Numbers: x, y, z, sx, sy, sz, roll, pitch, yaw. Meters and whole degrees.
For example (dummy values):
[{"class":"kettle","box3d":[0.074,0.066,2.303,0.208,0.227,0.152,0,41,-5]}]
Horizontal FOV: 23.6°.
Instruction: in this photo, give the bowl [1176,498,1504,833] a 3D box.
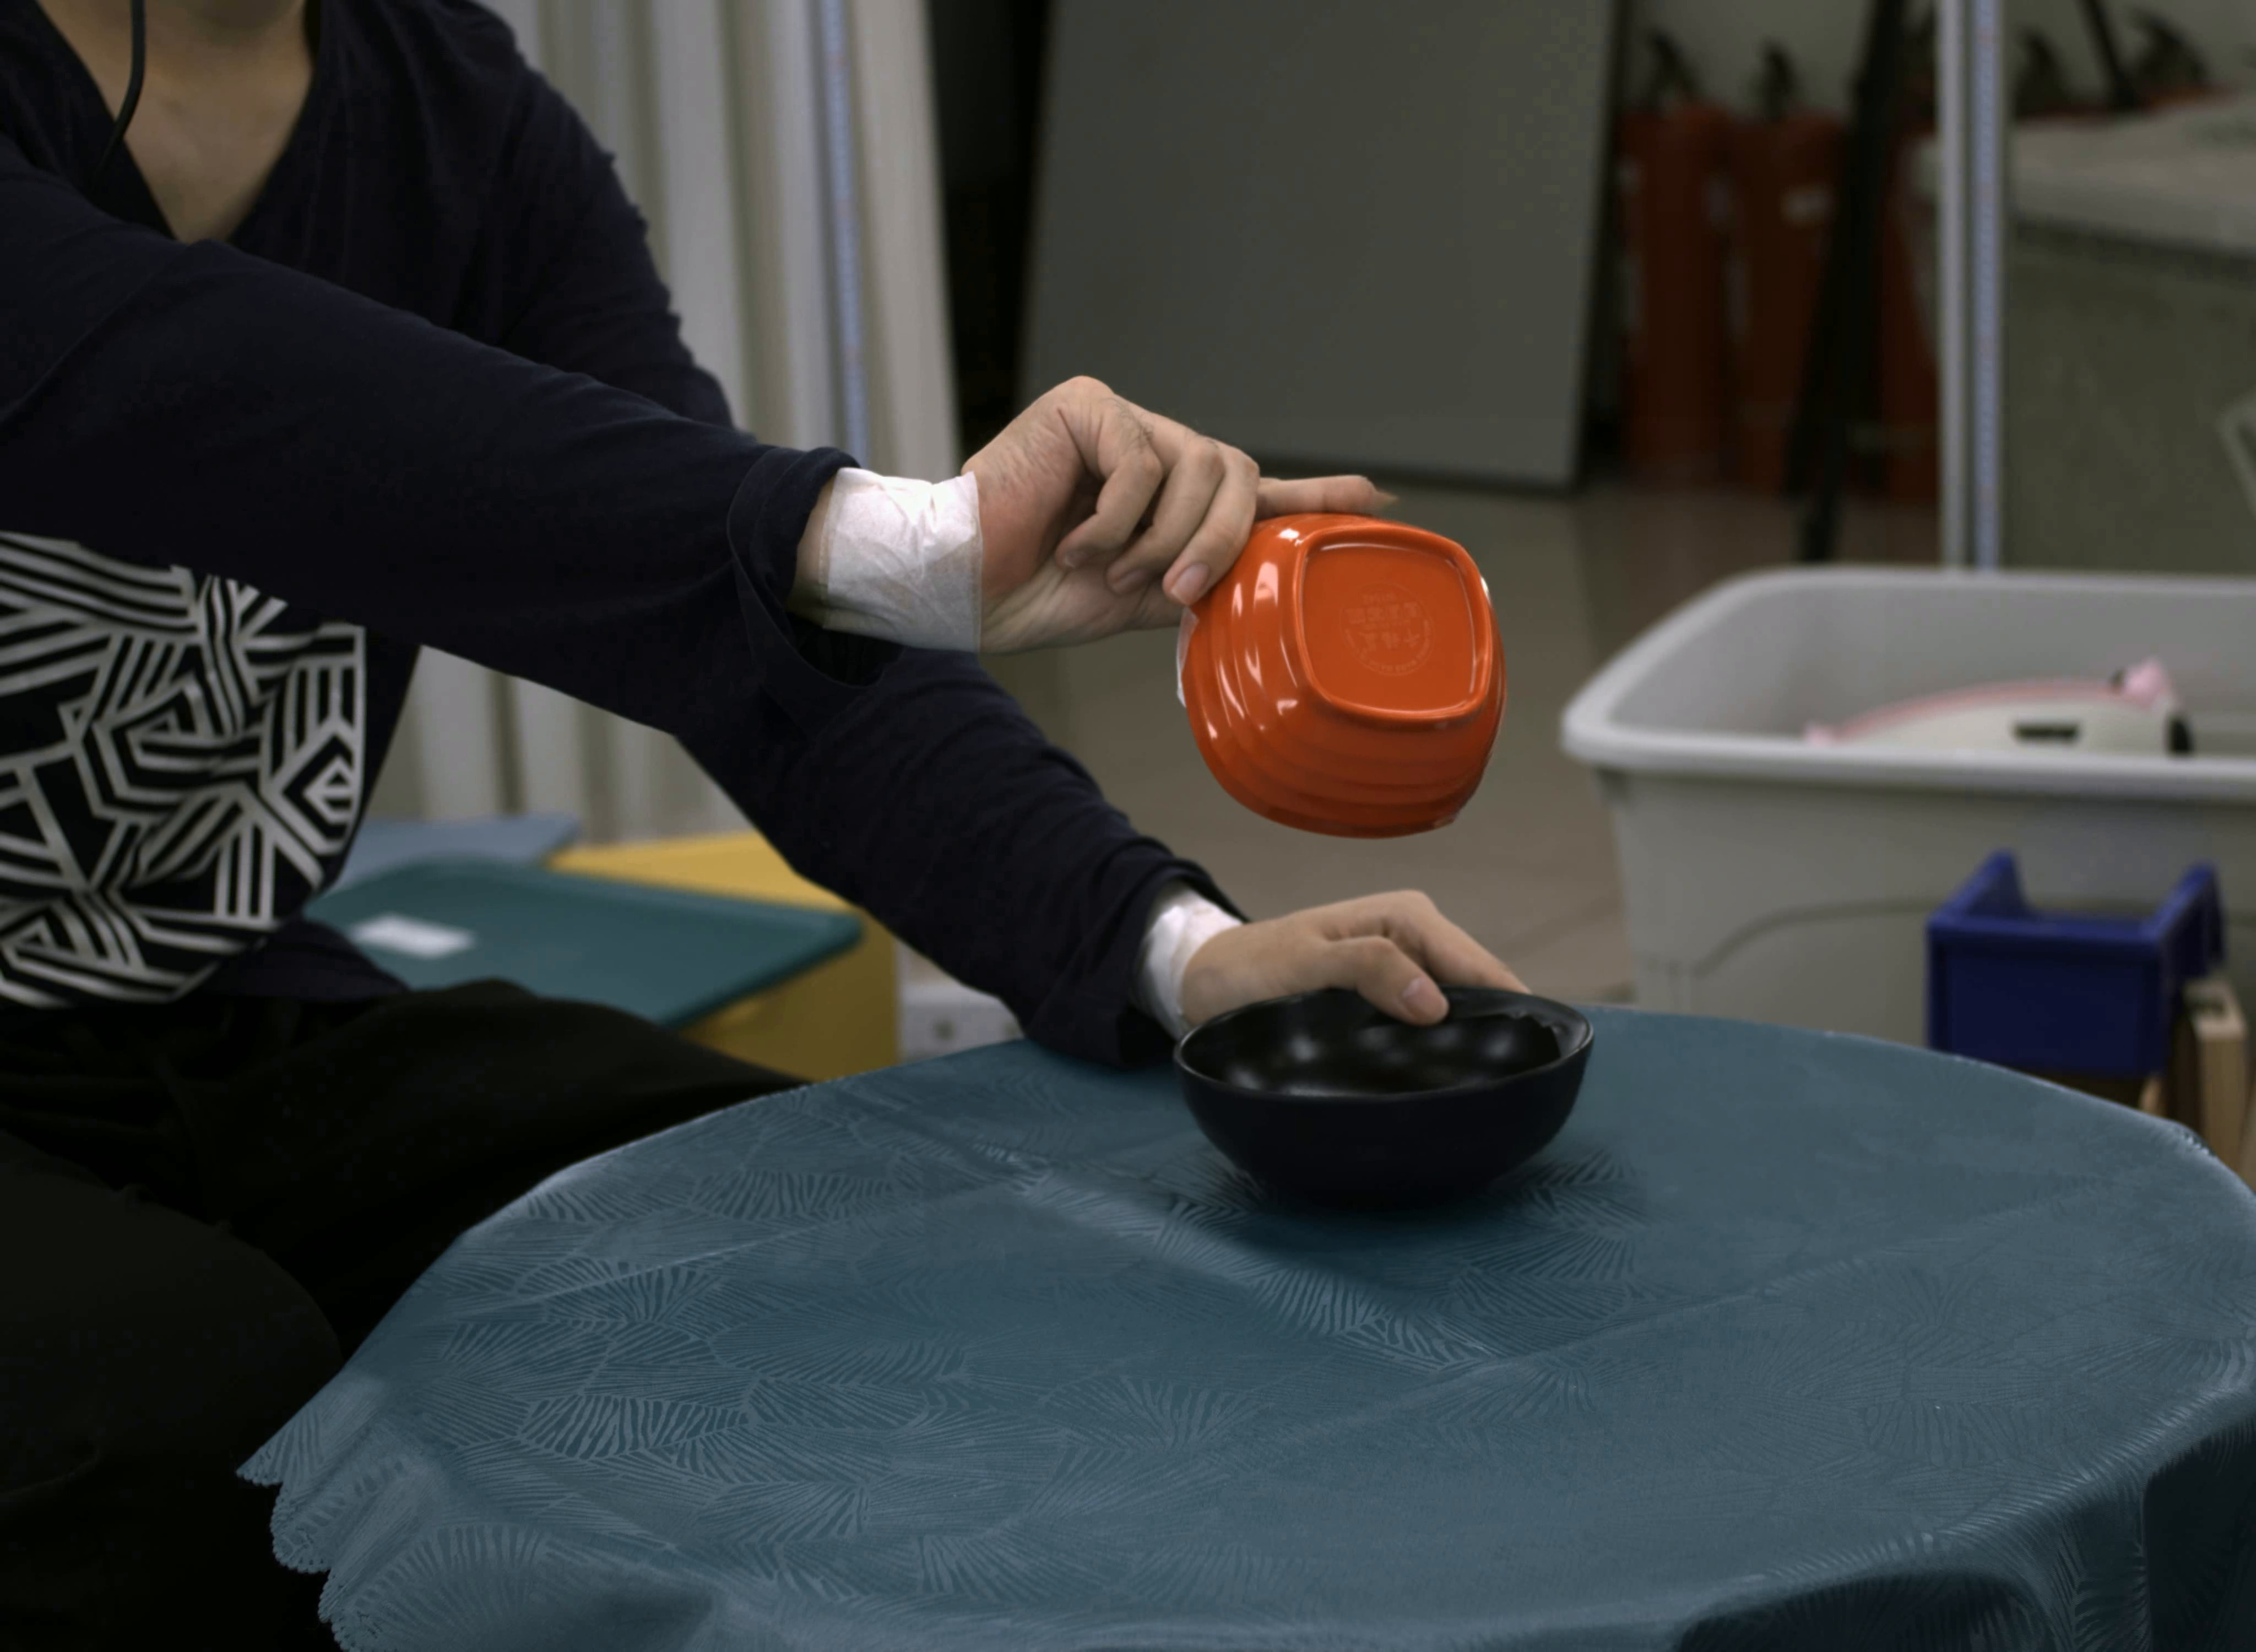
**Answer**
[{"class":"bowl","box3d":[0.073,-0.058,1.708,0.116,0.120,0.052,-8,-18,-19]}]

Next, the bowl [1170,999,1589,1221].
[{"class":"bowl","box3d":[0.084,0.096,1.759,0.138,0.050,0.140,-7,9,0]}]
